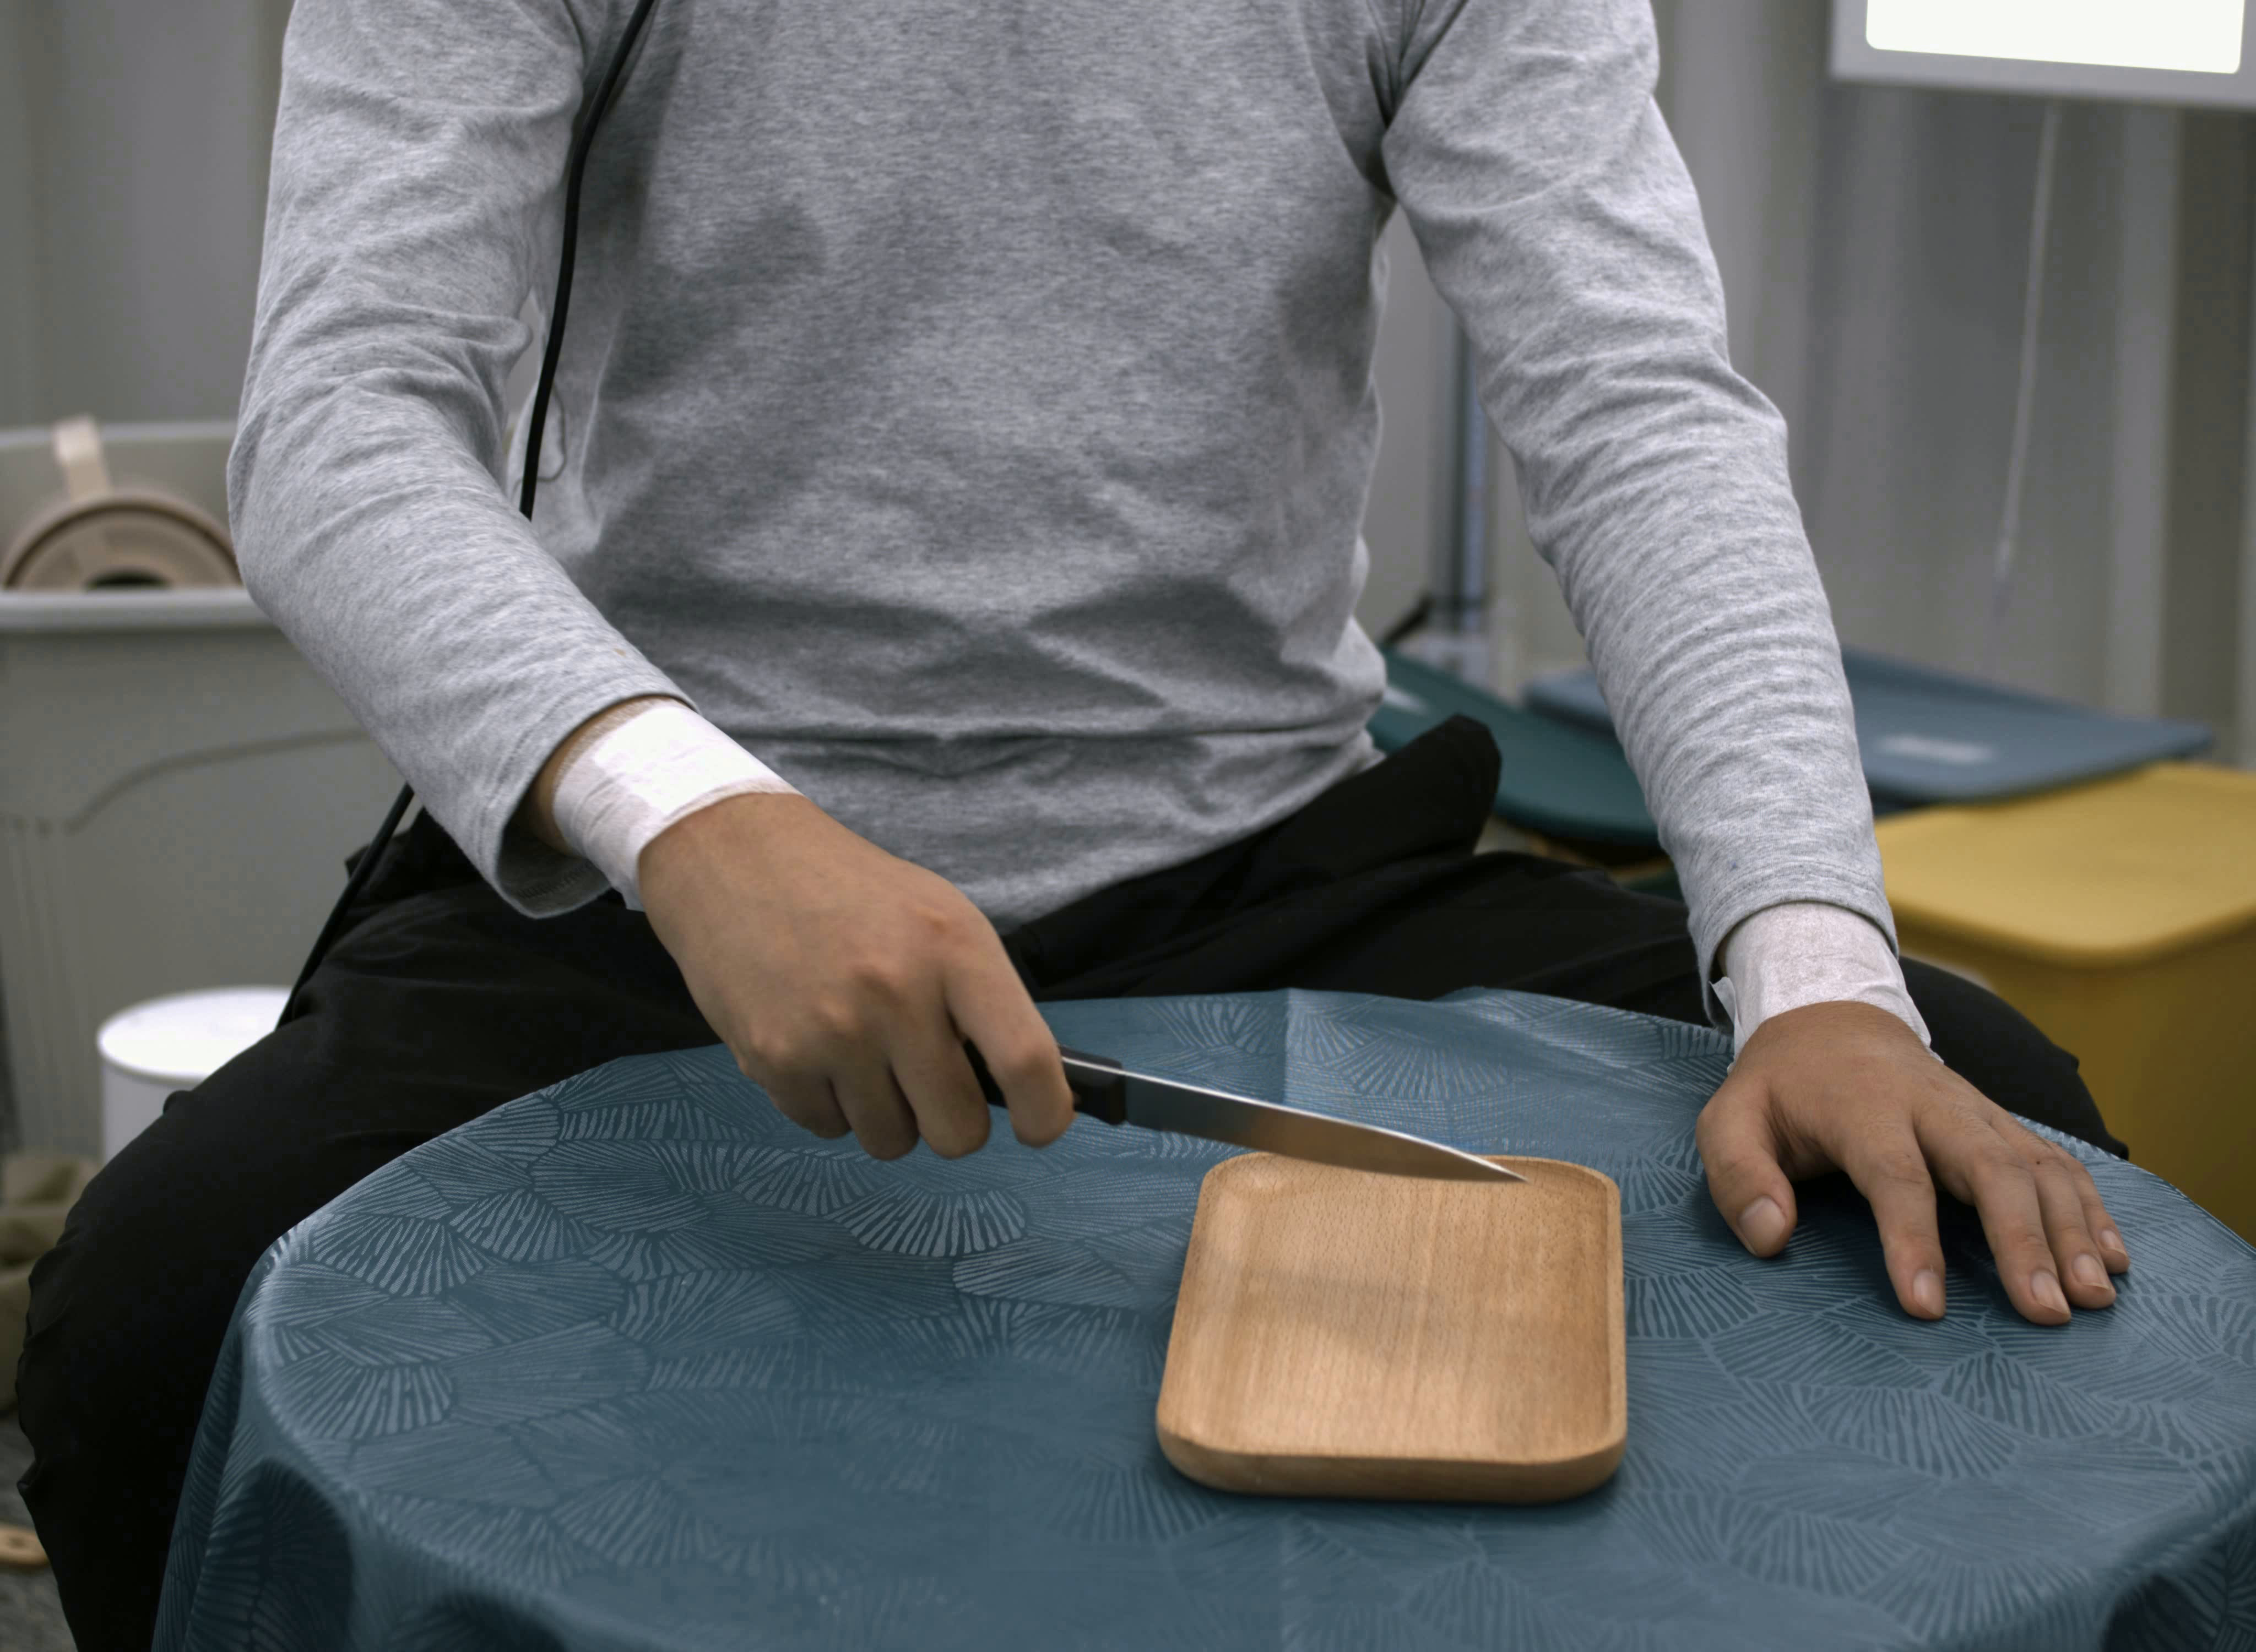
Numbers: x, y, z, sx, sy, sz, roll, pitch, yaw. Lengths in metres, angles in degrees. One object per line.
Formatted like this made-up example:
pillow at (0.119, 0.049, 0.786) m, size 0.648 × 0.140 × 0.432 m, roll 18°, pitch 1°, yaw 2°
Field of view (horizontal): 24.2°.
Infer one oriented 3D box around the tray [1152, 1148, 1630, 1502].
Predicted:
tray at (0.078, 0.139, 1.501) m, size 0.130 × 0.023 × 0.250 m, roll 5°, pitch 15°, yaw 4°

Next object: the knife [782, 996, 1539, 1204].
knife at (0.007, 0.081, 1.535) m, size 0.236 × 0.025 × 0.016 m, roll 12°, pitch 50°, yaw 17°
